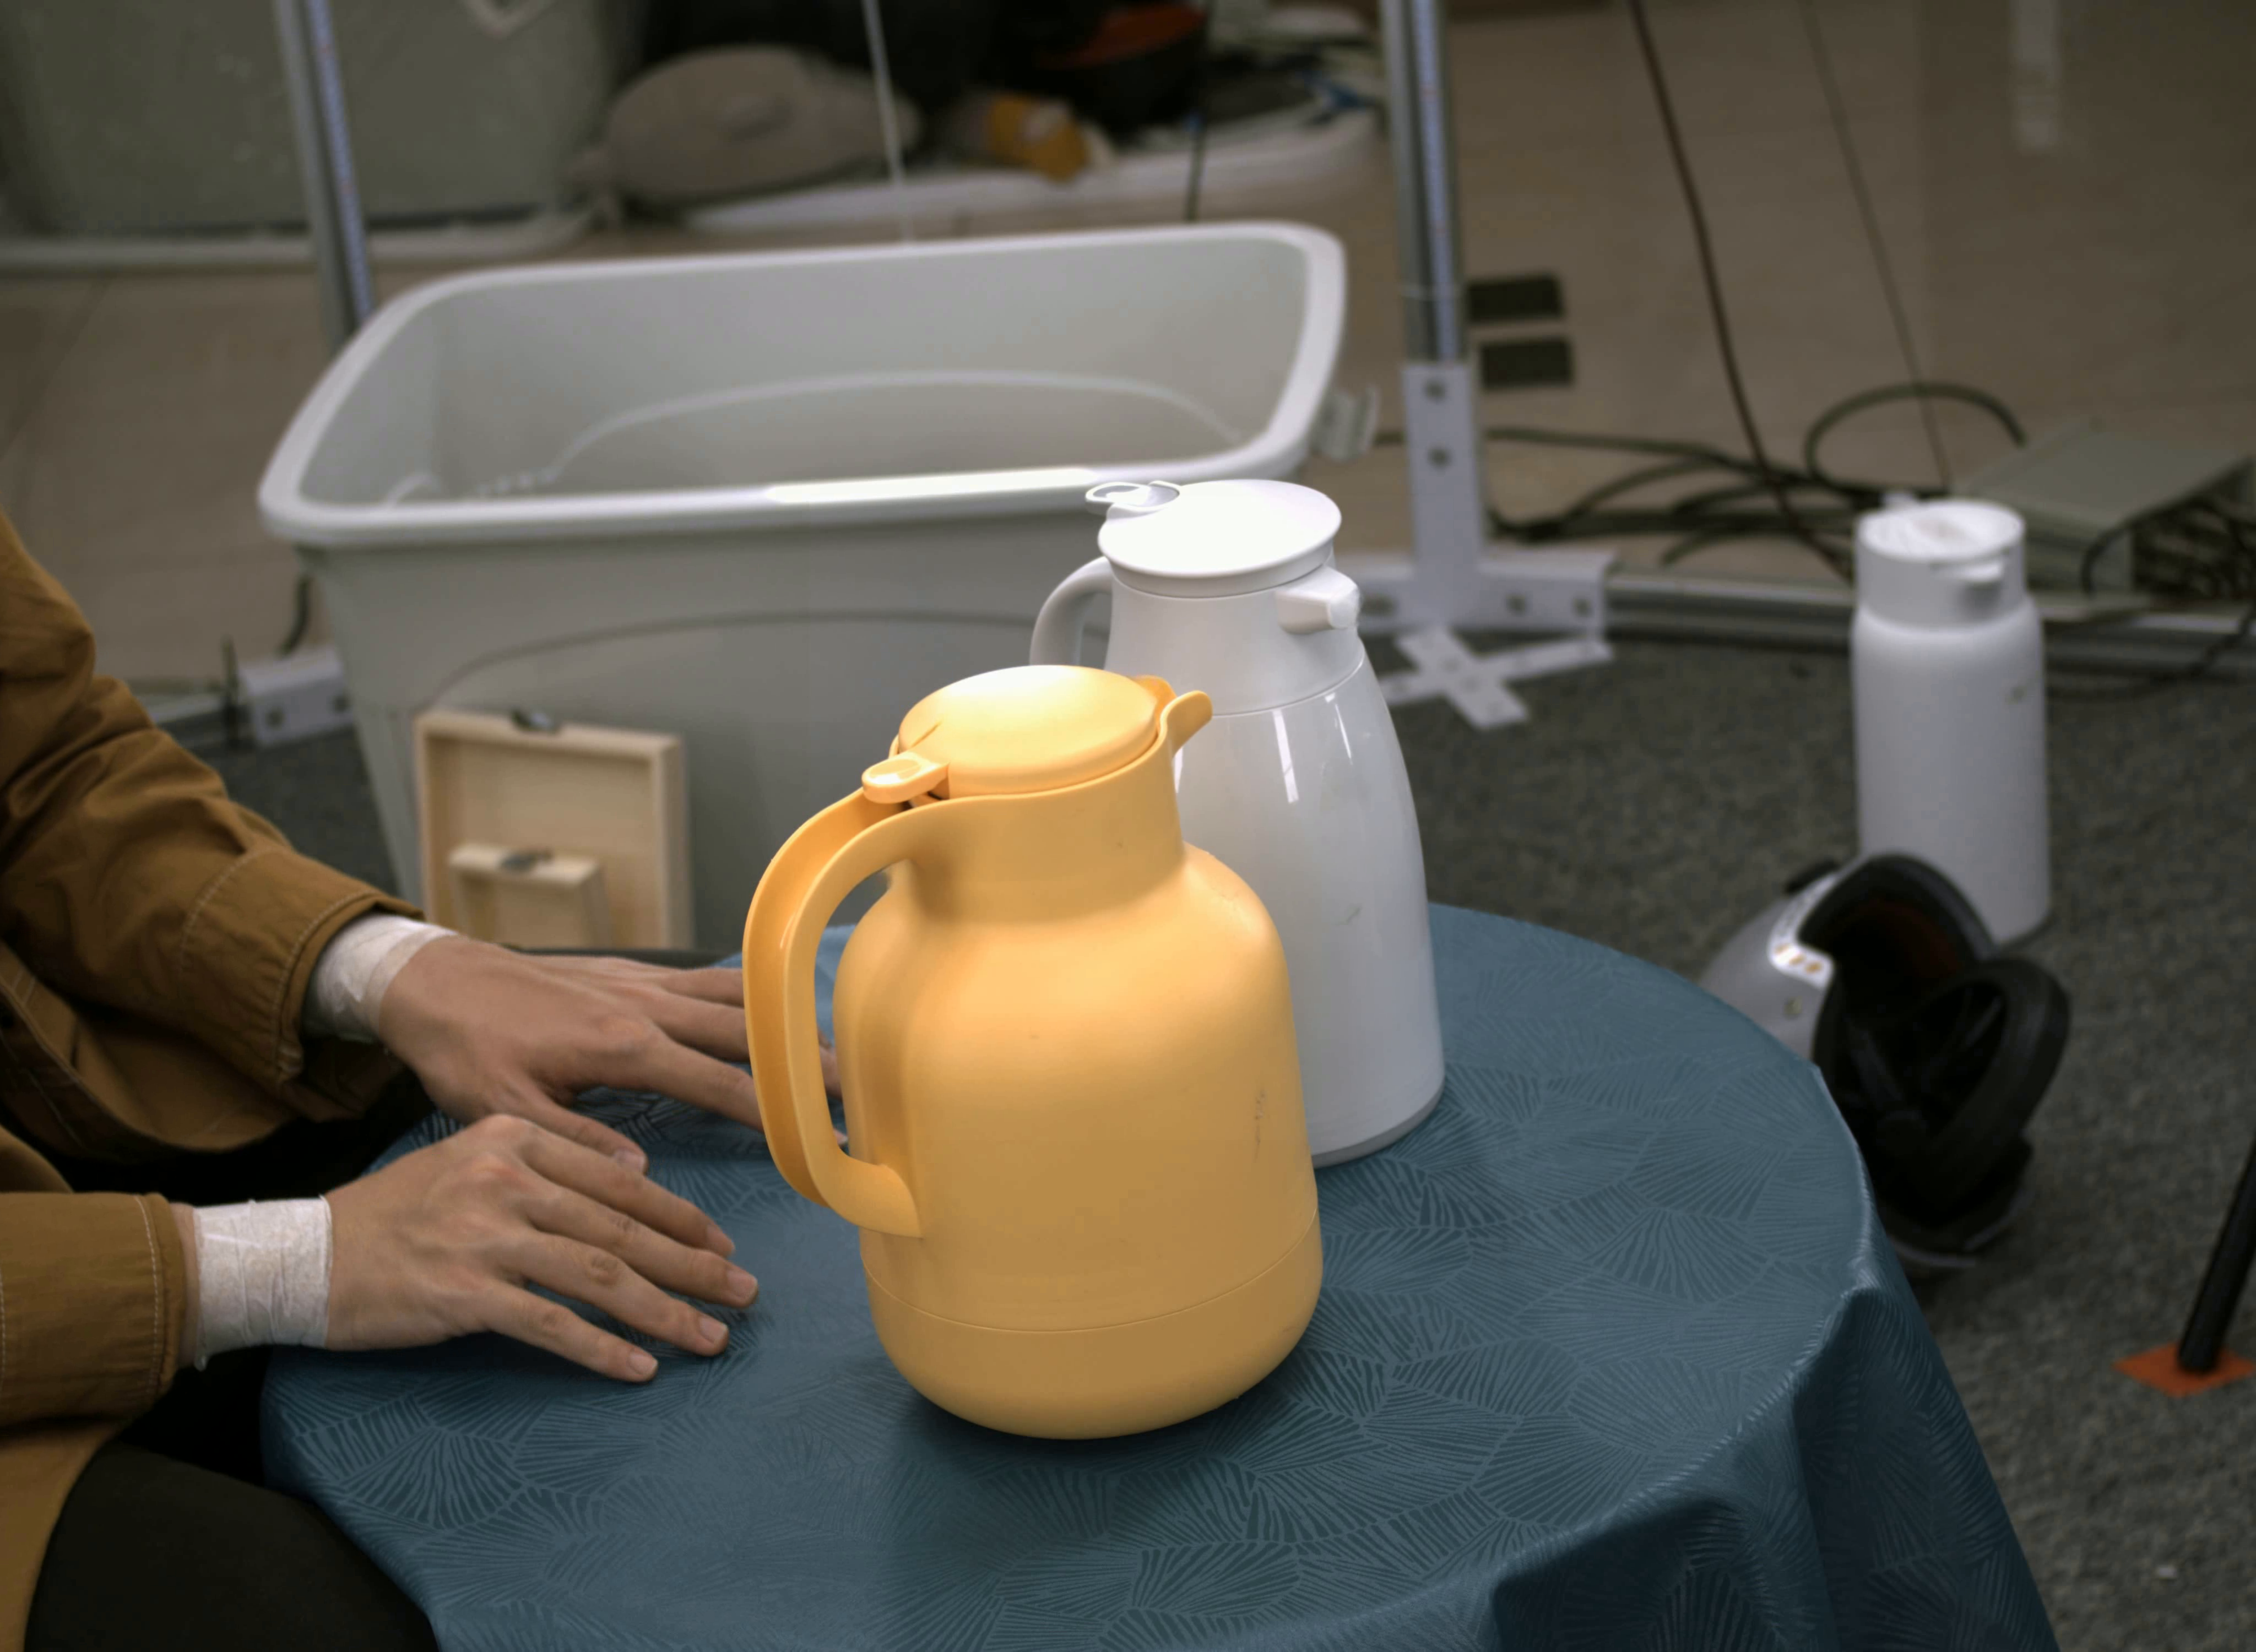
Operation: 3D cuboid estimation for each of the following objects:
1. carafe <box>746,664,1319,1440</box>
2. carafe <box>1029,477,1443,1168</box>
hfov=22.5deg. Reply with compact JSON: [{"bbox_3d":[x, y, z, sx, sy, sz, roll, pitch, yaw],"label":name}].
[{"bbox_3d":[-0.038,0.080,1.974,0.201,0.264,0.162,-21,27,-30],"label":"carafe"},{"bbox_3d":[0.031,-0.010,2.164,0.166,0.252,0.131,17,34,40],"label":"carafe"}]
